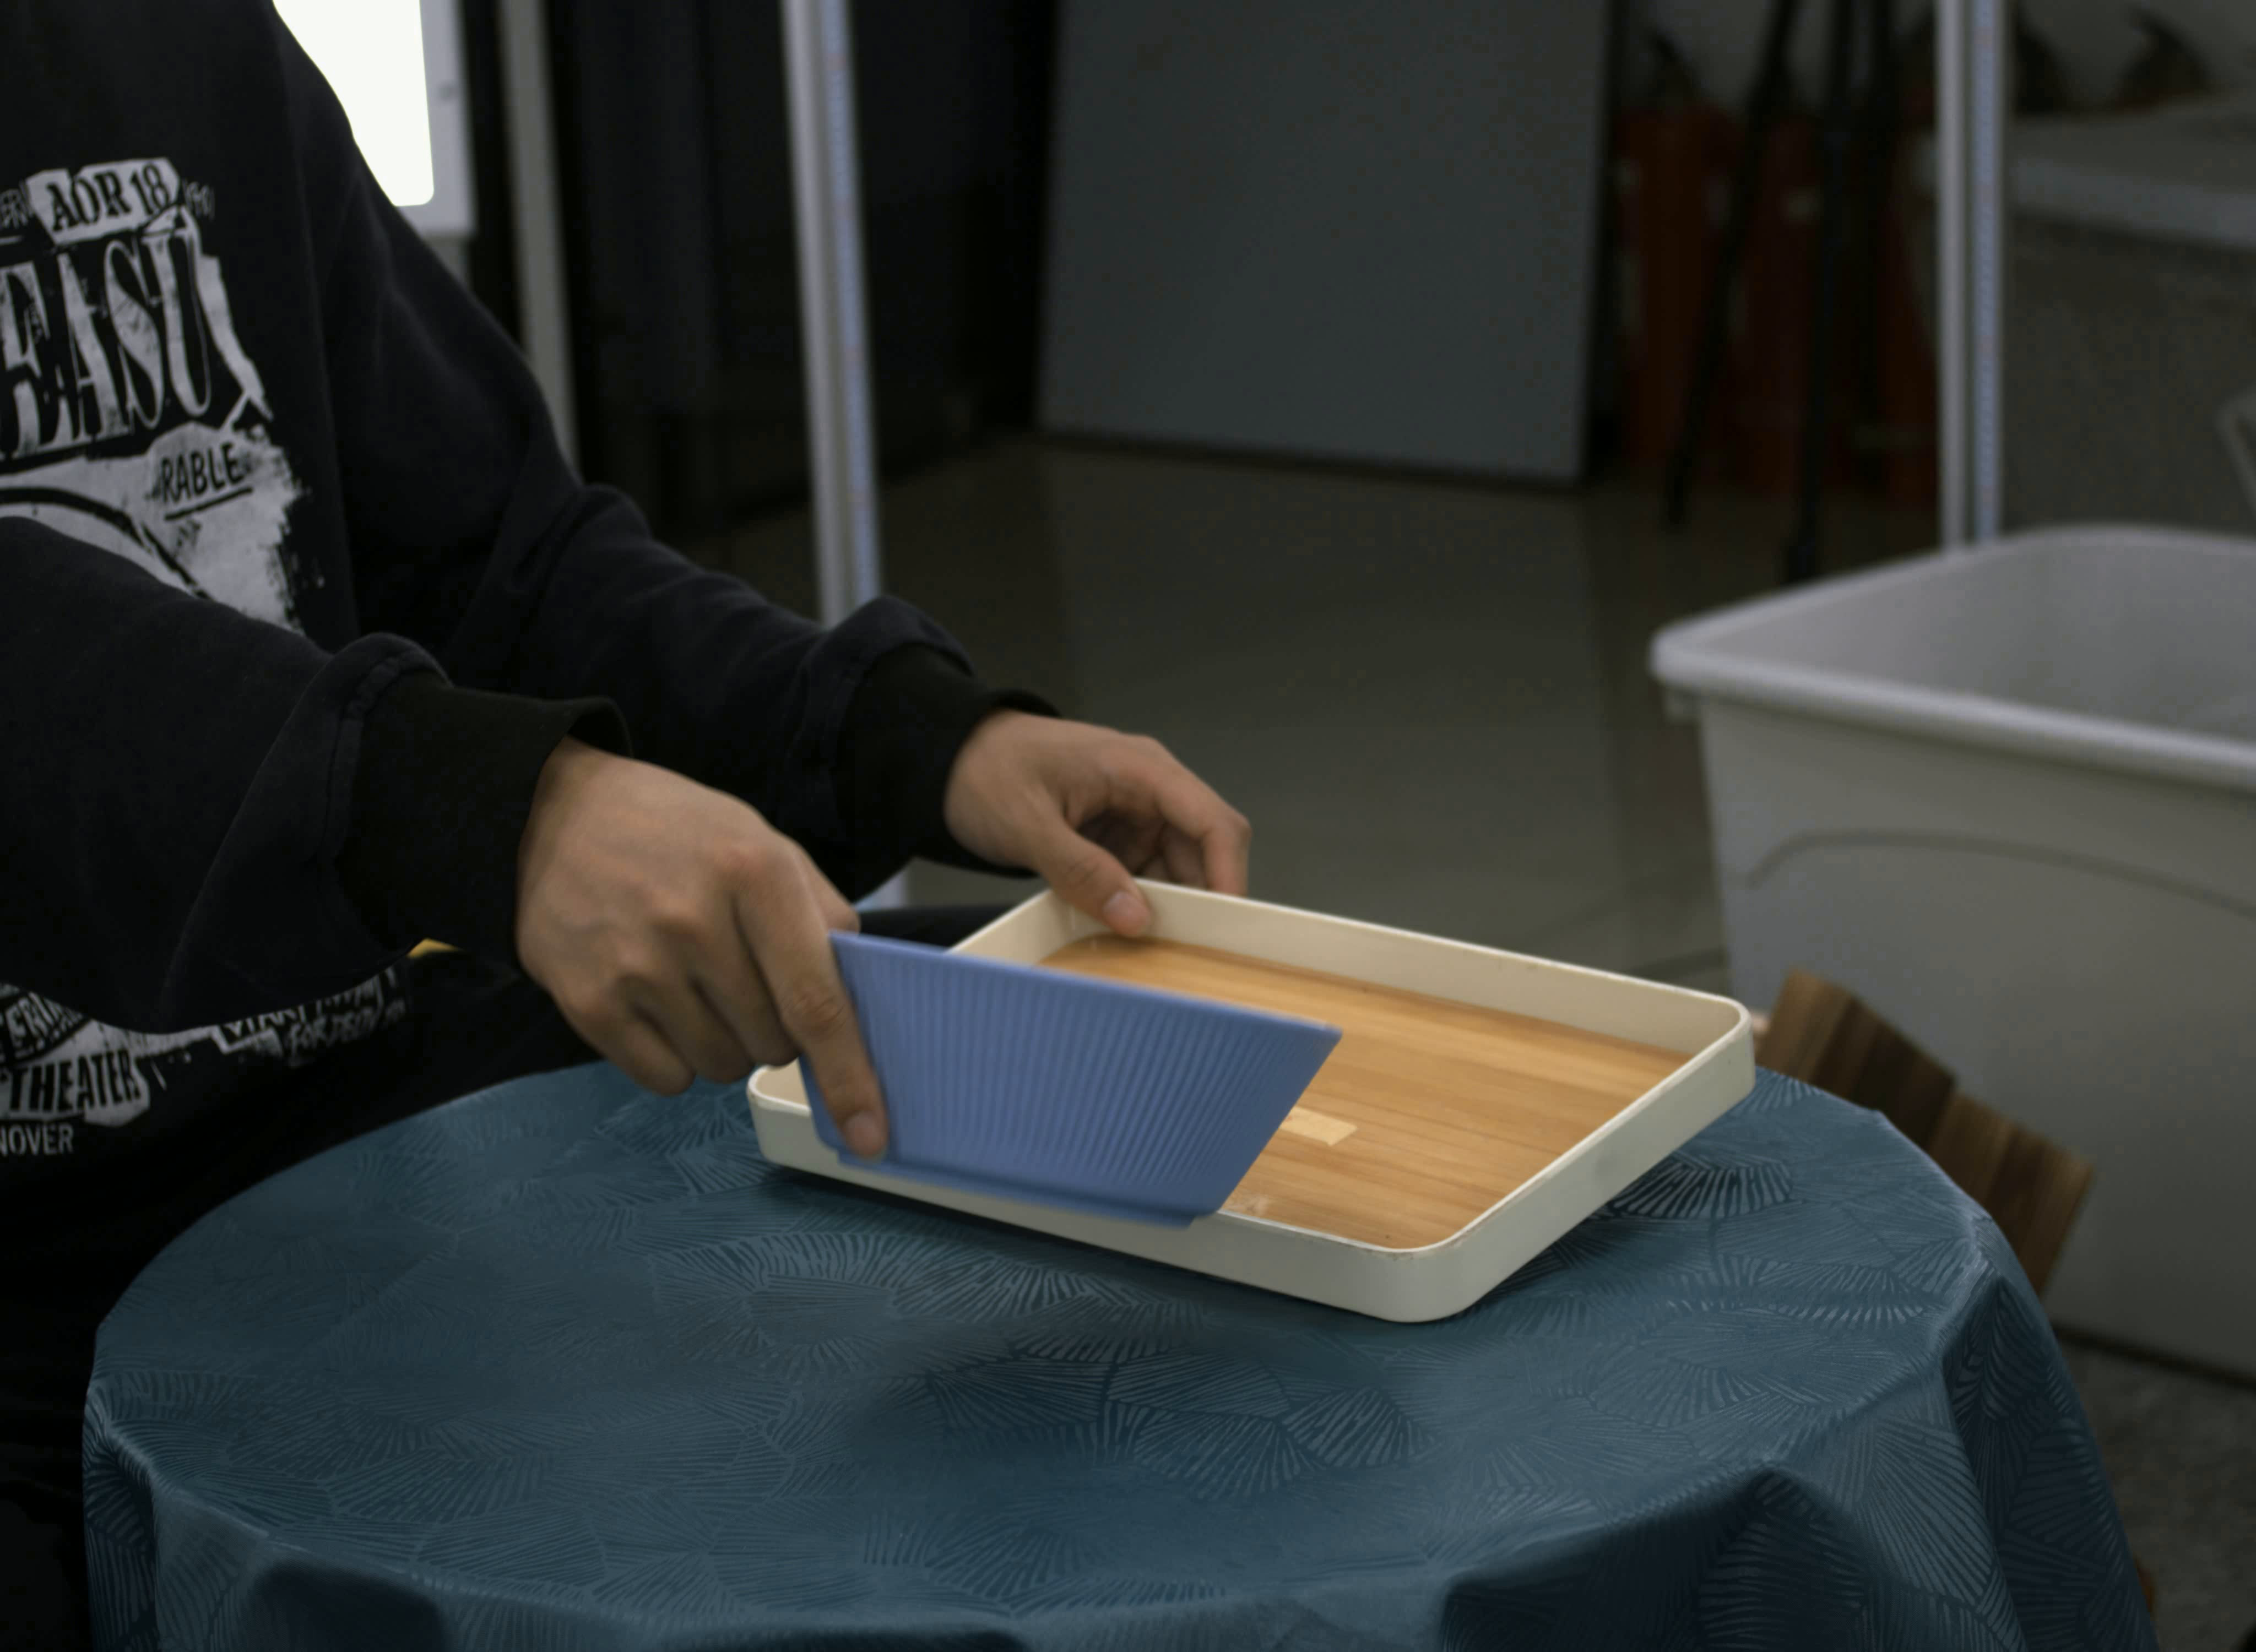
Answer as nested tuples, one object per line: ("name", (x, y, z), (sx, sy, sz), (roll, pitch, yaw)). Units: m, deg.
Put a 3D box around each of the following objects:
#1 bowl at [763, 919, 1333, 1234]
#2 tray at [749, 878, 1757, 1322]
("bowl", (-0.030, 0.077, 1.601), (0.174, 0.071, 0.176), (12, -3, 0))
("tray", (0.039, 0.085, 1.772), (0.303, 0.027, 0.188), (10, 30, 41))
